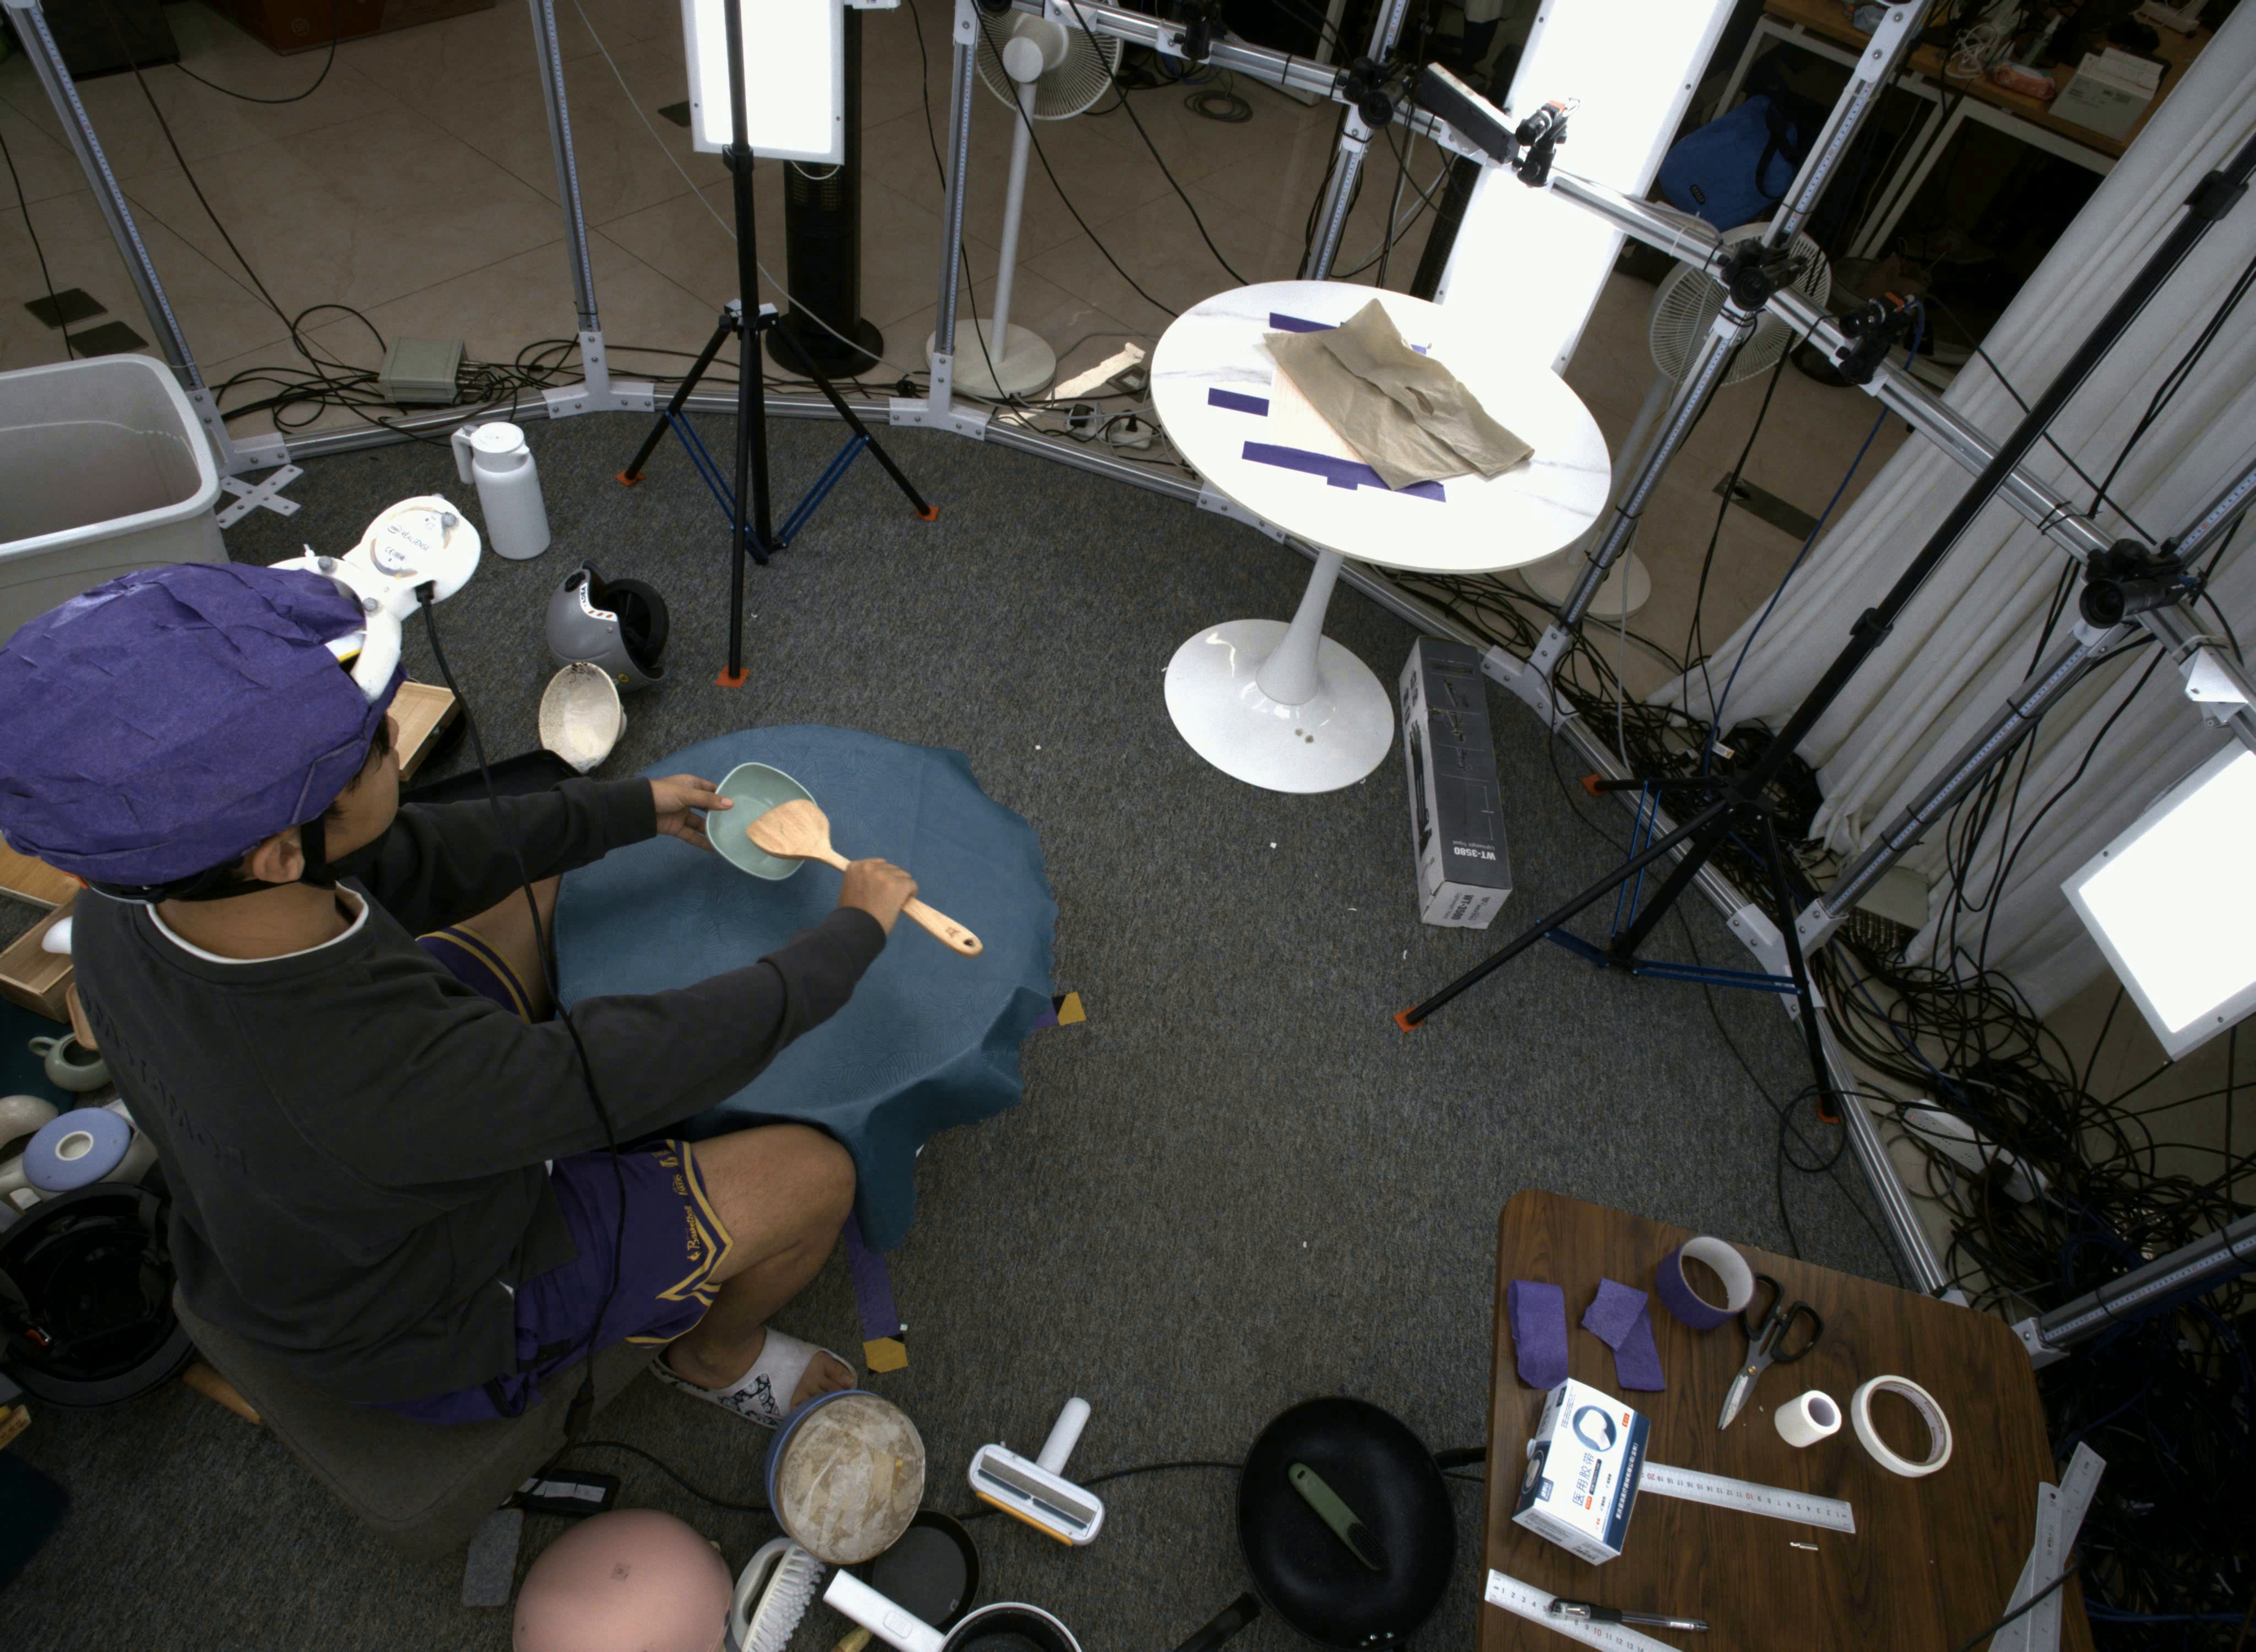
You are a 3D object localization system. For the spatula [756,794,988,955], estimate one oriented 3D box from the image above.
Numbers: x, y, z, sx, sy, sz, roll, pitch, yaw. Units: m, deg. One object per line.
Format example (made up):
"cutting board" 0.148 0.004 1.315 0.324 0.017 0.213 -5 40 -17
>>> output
"spatula" -0.293 0.055 1.508 0.376 0.019 0.096 27 50 33

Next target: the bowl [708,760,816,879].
"bowl" -0.465 -0.003 1.626 0.155 0.057 0.151 16 67 -37
